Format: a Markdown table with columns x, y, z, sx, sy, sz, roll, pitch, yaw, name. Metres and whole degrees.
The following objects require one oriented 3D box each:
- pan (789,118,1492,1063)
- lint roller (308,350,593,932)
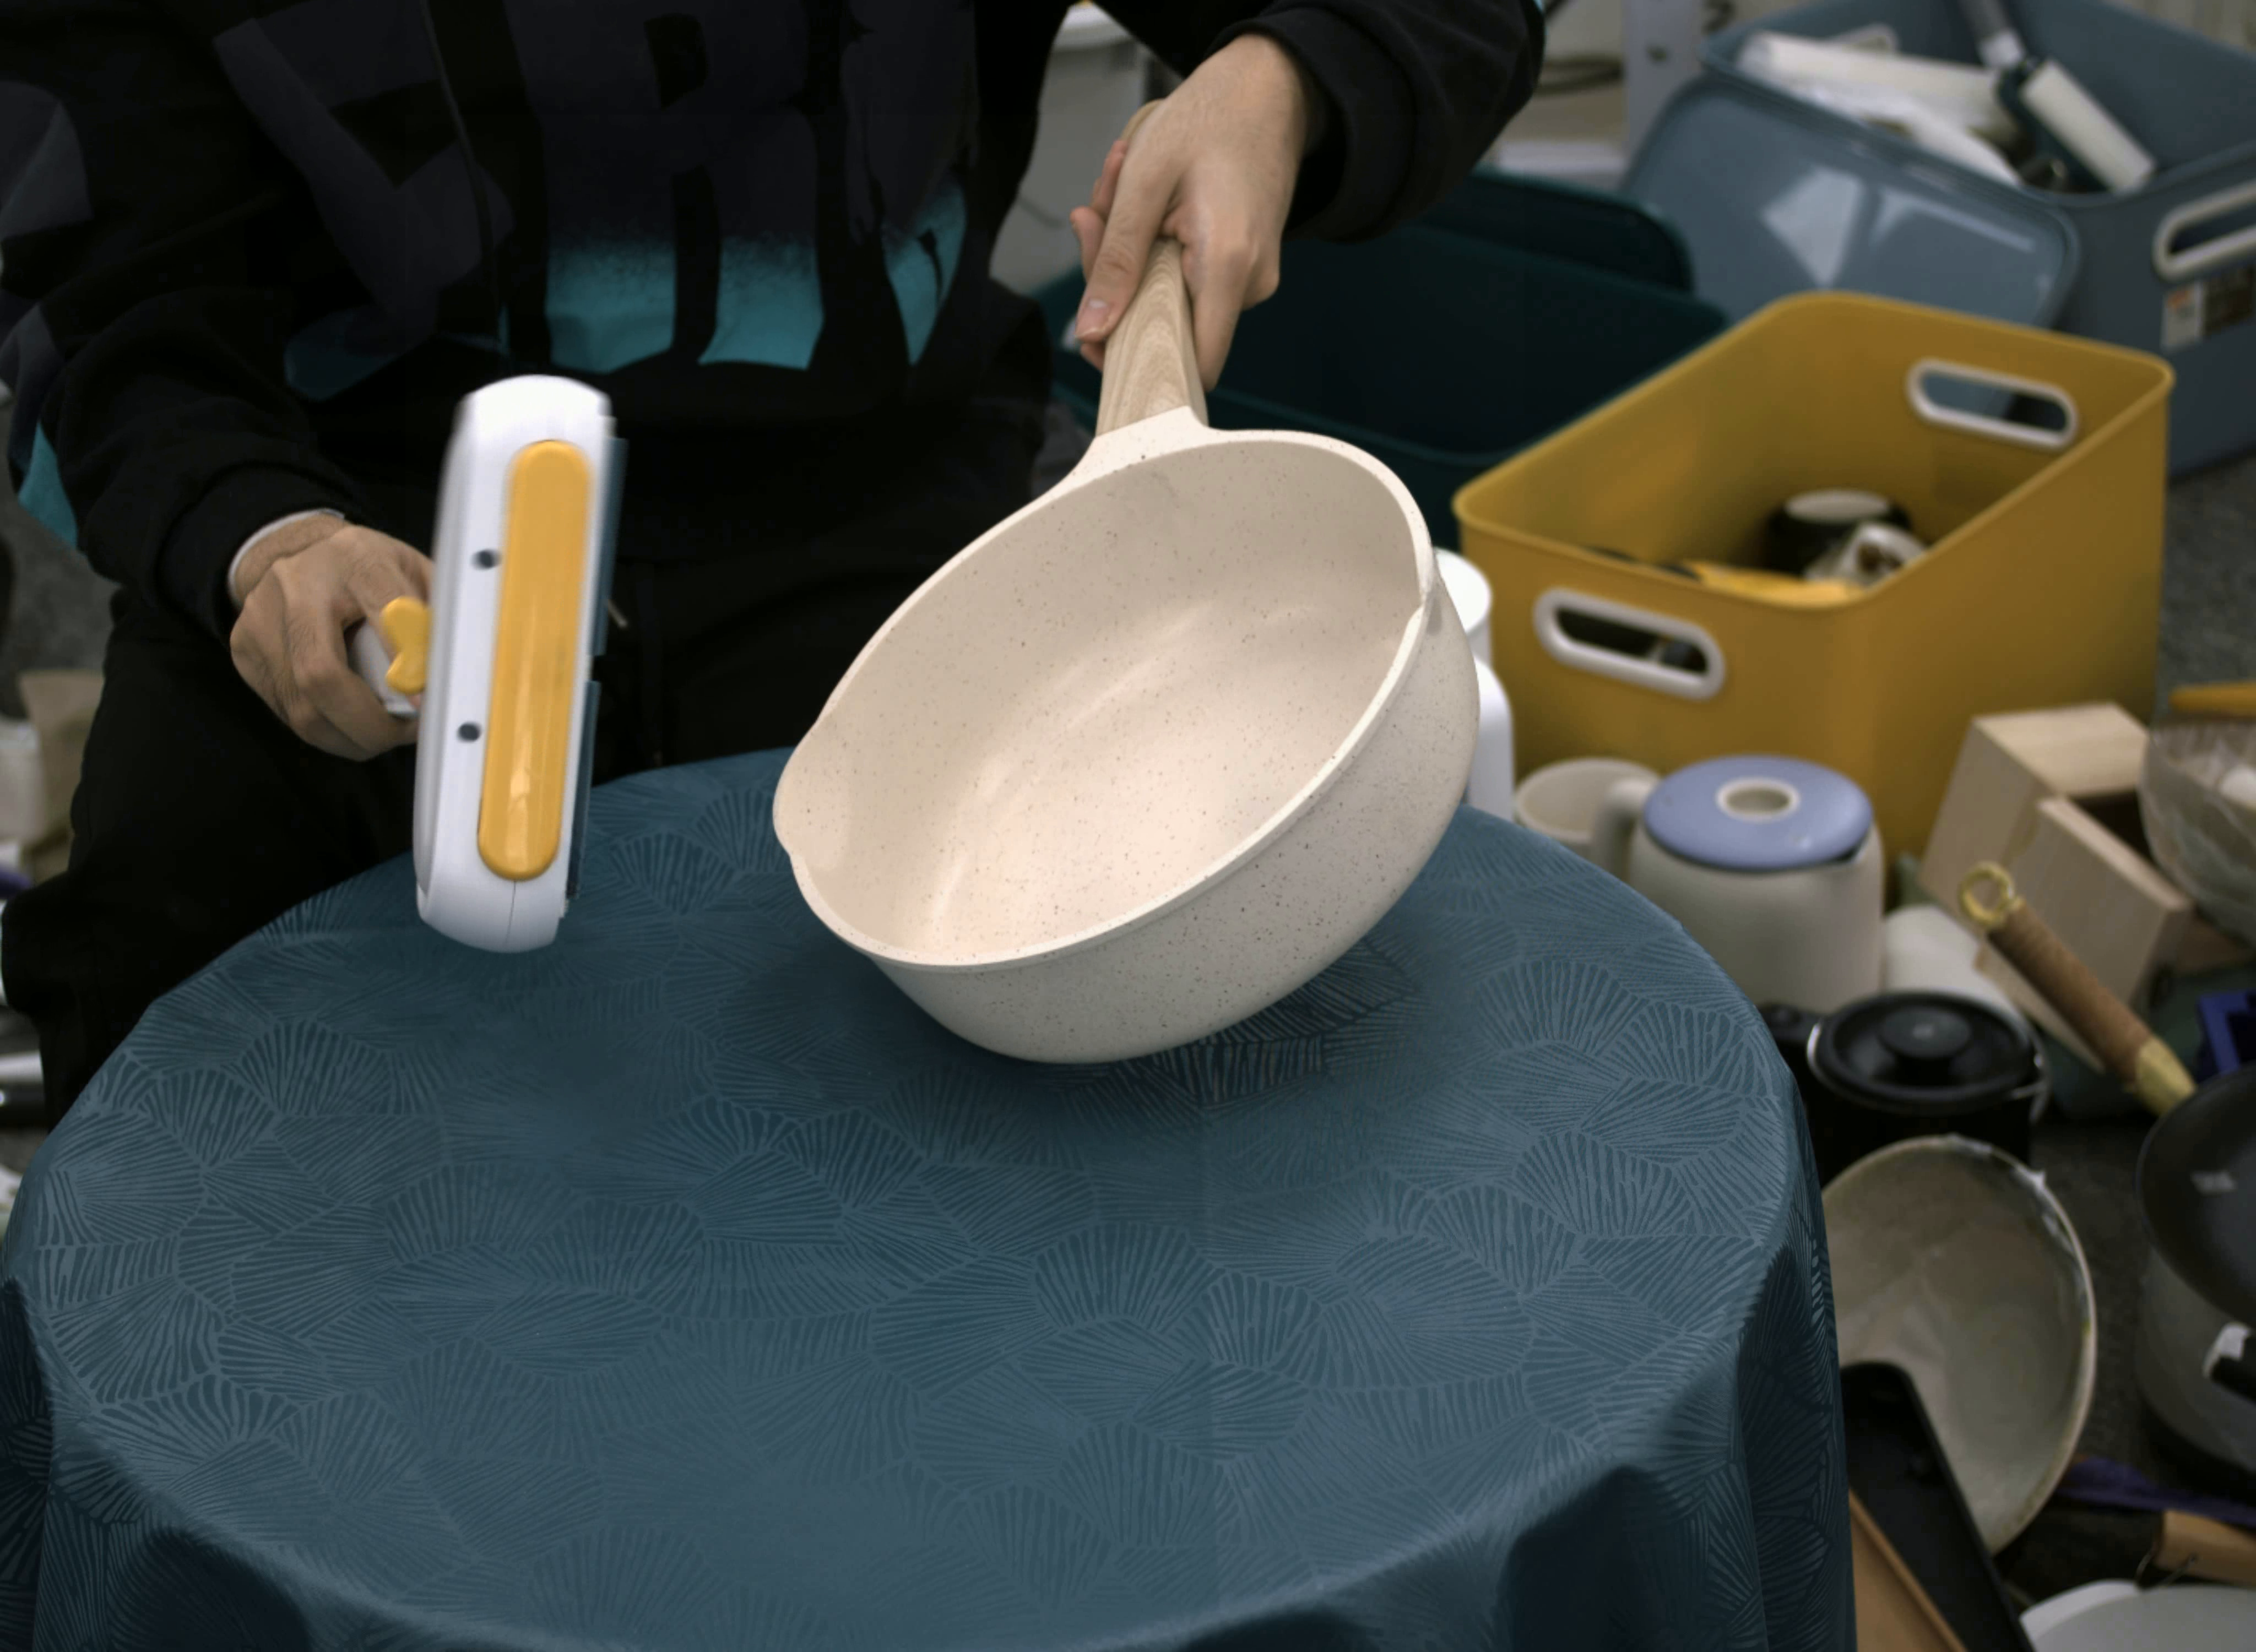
| x | y | z | sx | sy | sz | roll | pitch | yaw | name |
| --- | --- | --- | --- | --- | --- | --- | --- | --- | --- |
| 0.018 | -0.089 | 2.019 | 0.260 | 0.101 | 0.444 | -20 | 37 | 22 | pan |
| -0.234 | -0.057 | 1.926 | 0.074 | 0.194 | 0.191 | -1 | -5 | -20 | lint roller |
